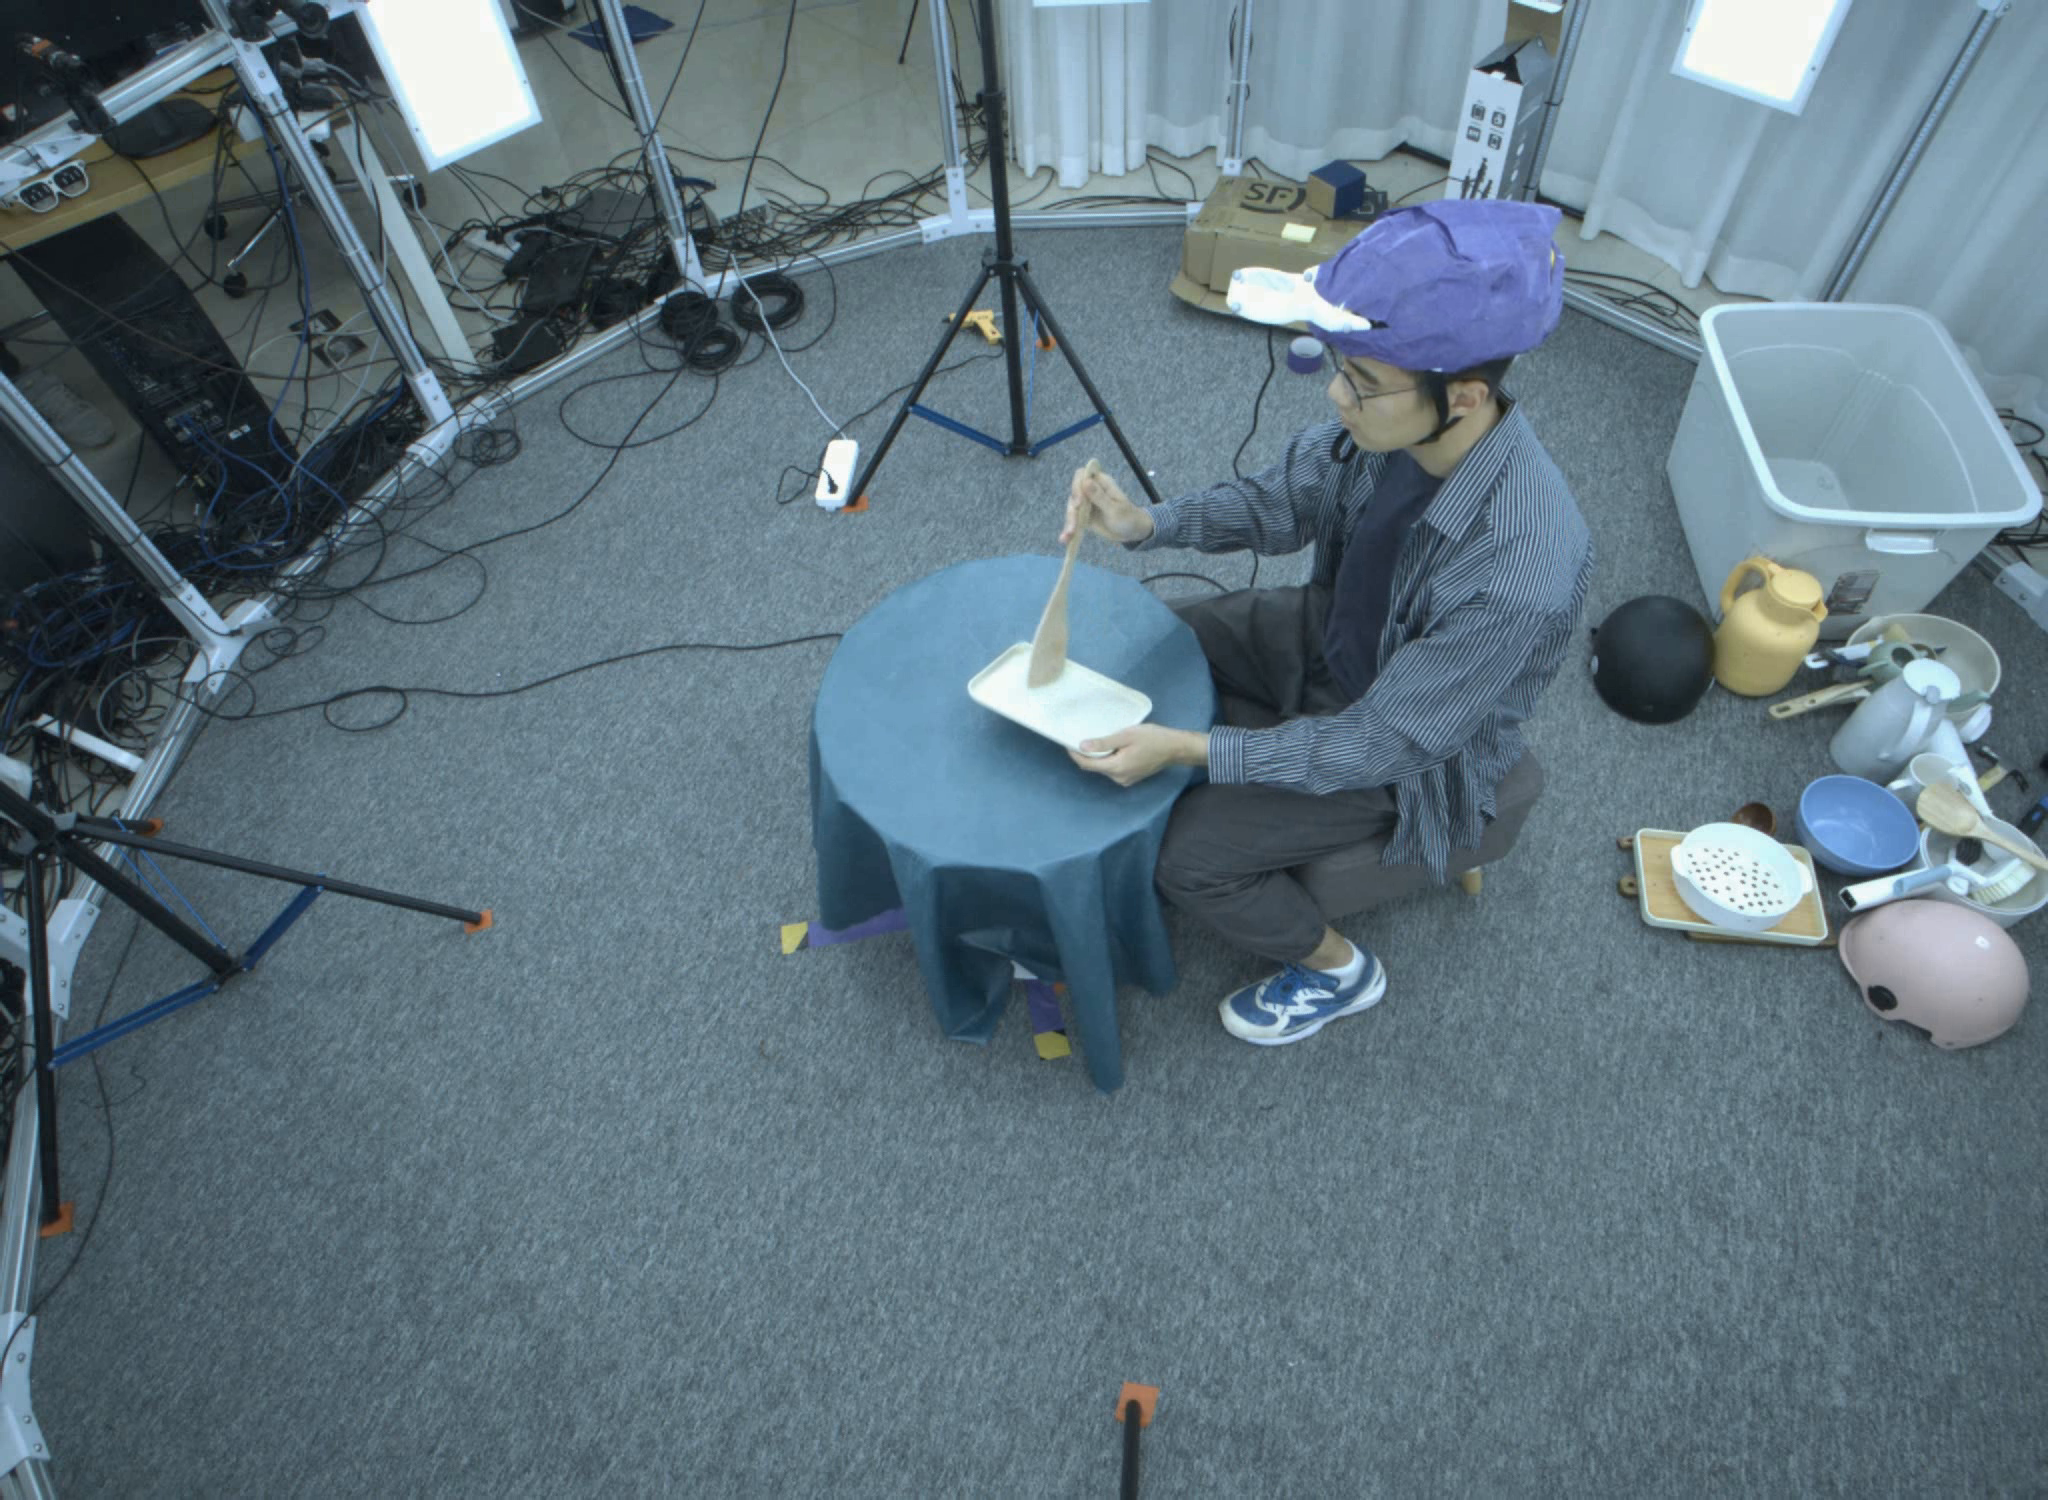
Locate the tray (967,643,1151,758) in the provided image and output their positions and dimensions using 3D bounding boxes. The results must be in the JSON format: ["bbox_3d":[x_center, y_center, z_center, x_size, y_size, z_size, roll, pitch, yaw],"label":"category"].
[{"bbox_3d":[0.051,-0.073,1.779,0.236,0.017,0.172,27,43,18],"label":"tray"}]

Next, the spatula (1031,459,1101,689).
[{"bbox_3d":[0.065,-0.242,1.701,0.016,0.328,0.081,27,25,33],"label":"spatula"}]
